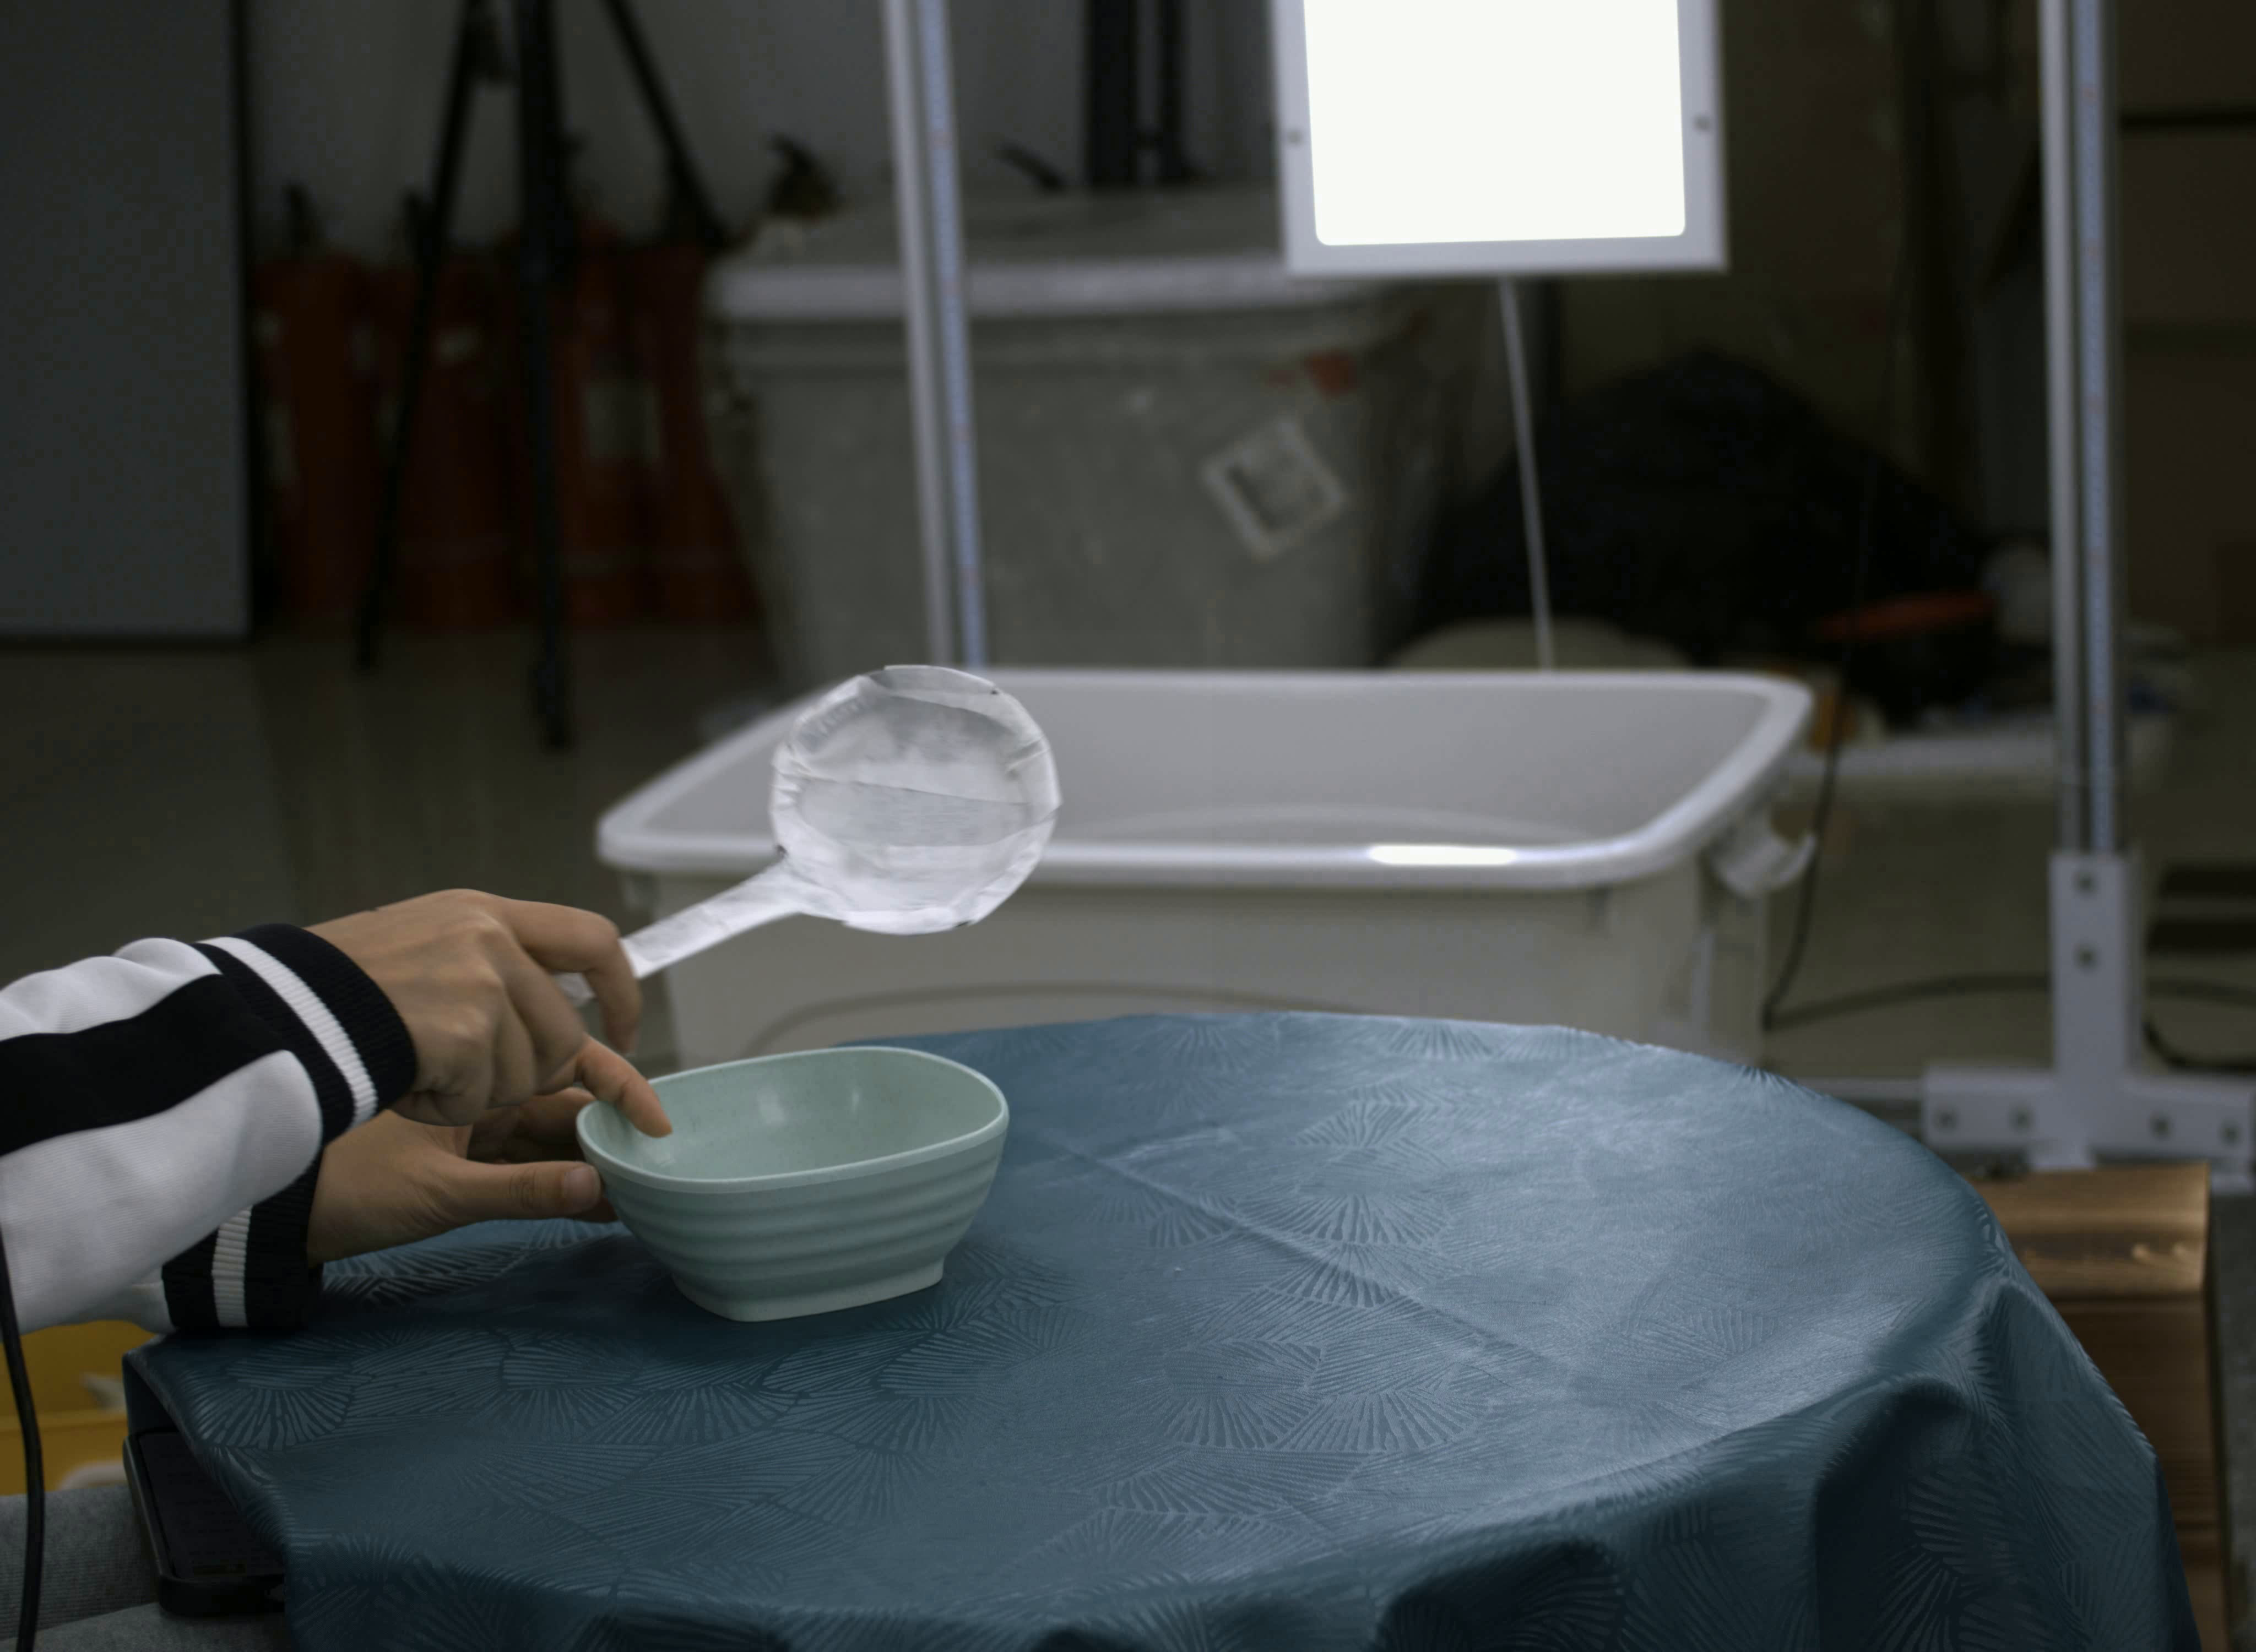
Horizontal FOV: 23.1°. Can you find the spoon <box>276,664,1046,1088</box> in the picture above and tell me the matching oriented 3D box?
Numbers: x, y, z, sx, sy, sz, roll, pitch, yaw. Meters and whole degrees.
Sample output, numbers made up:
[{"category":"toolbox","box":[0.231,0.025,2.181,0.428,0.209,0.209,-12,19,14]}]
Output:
[{"category":"spoon","box":[-0.147,0.016,1.721,0.270,0.060,0.101,-20,62,-38]}]

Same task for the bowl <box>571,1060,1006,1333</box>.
[{"category":"bowl","box":[-0.111,0.126,1.834,0.151,0.059,0.151,-5,13,0]}]
